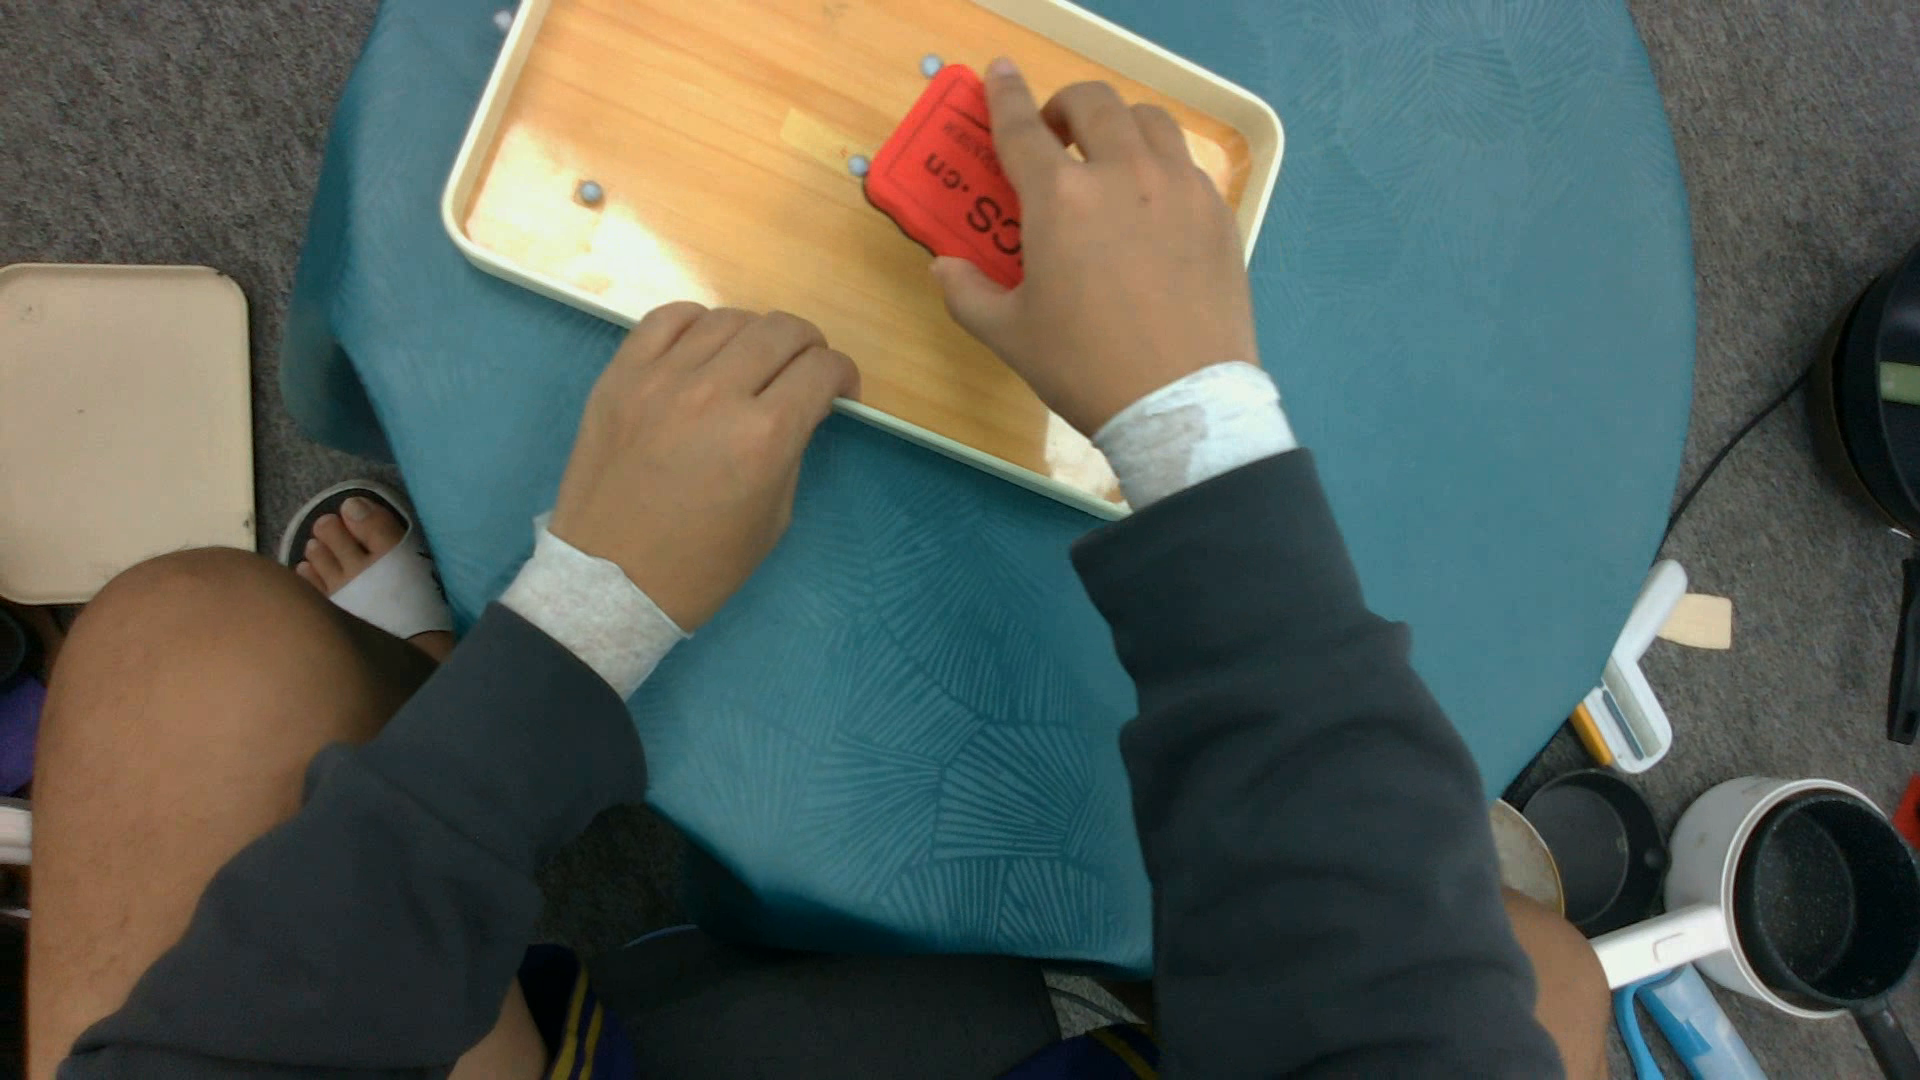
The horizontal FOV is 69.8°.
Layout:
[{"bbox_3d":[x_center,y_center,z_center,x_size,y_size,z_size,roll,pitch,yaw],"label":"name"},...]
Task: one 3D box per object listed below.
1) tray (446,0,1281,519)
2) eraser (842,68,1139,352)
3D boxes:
[{"bbox_3d":[-0.028,-0.144,0.556,0.300,0.027,0.192,21,81,-12],"label":"tray"},{"bbox_3d":[0.012,-0.125,0.525,0.108,0.023,0.059,36,82,-10],"label":"eraser"}]
